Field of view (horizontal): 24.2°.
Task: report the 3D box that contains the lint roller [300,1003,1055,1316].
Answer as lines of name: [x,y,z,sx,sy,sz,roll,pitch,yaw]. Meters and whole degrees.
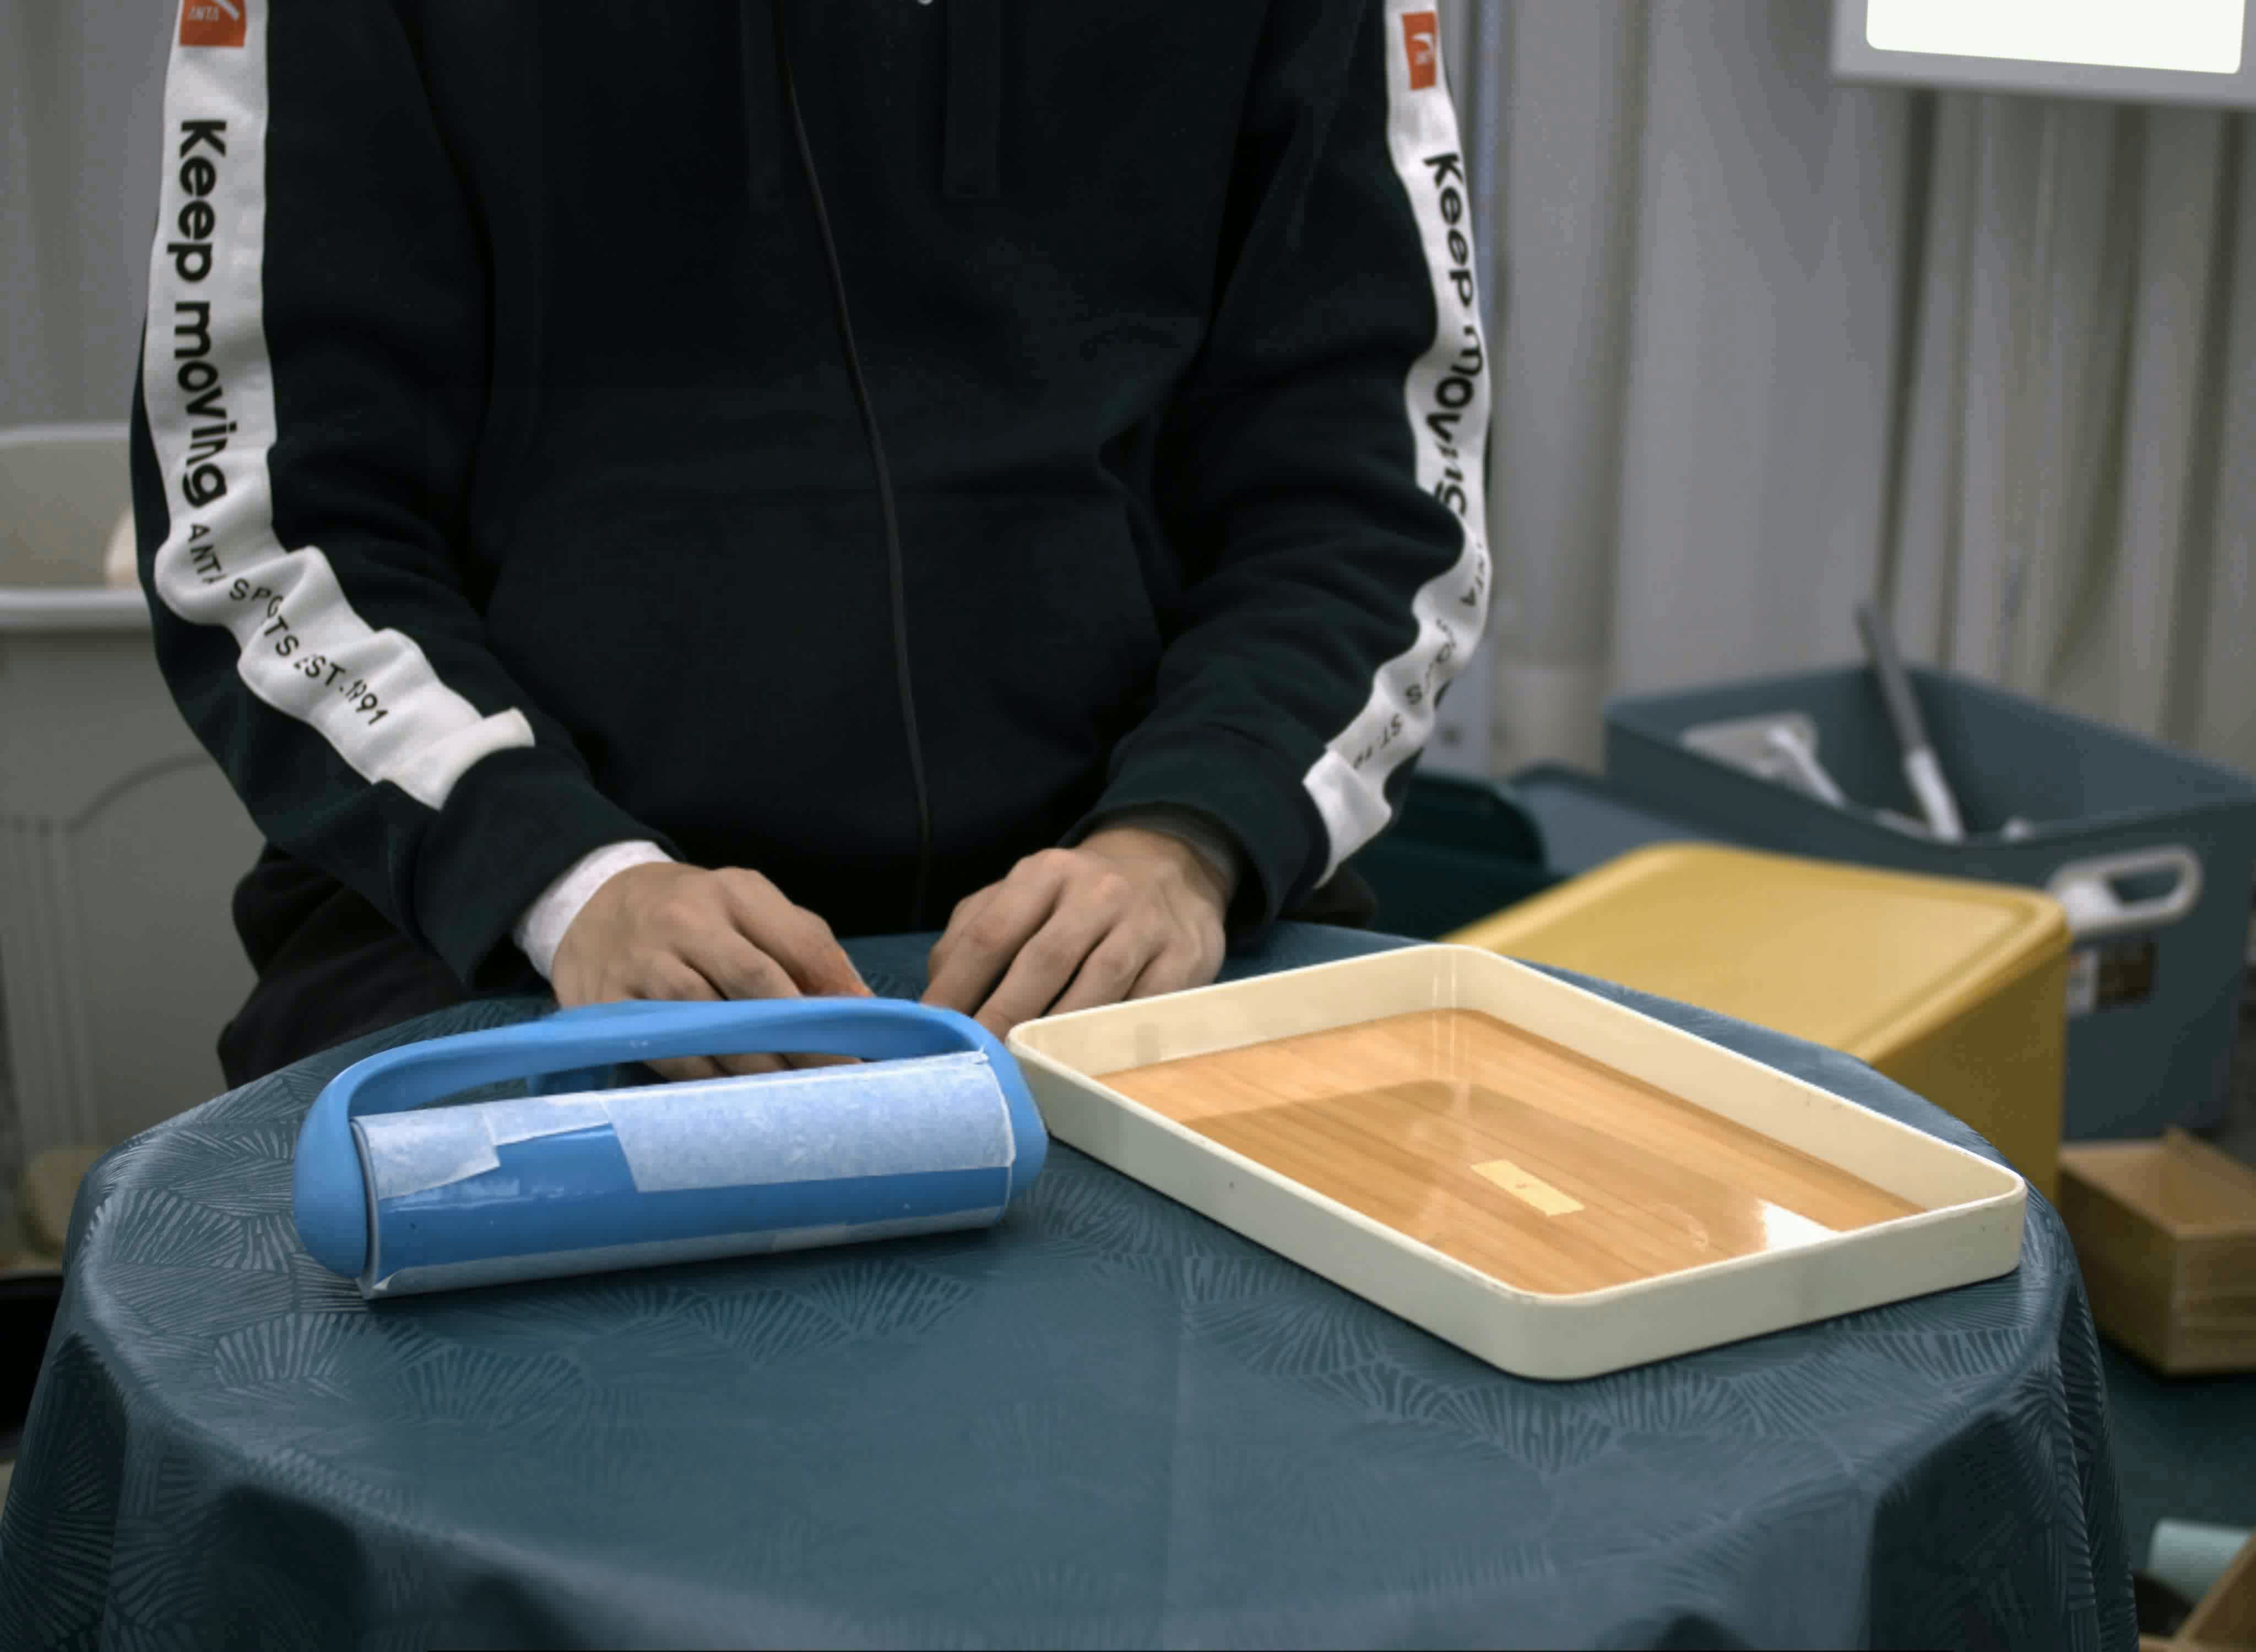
lint roller: [-0.153,0.088,1.600,0.229,0.068,0.178,-9,18,-23]

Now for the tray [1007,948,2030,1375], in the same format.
tray: [0.114,0.098,1.624,0.192,0.027,0.296,-9,18,-32]
